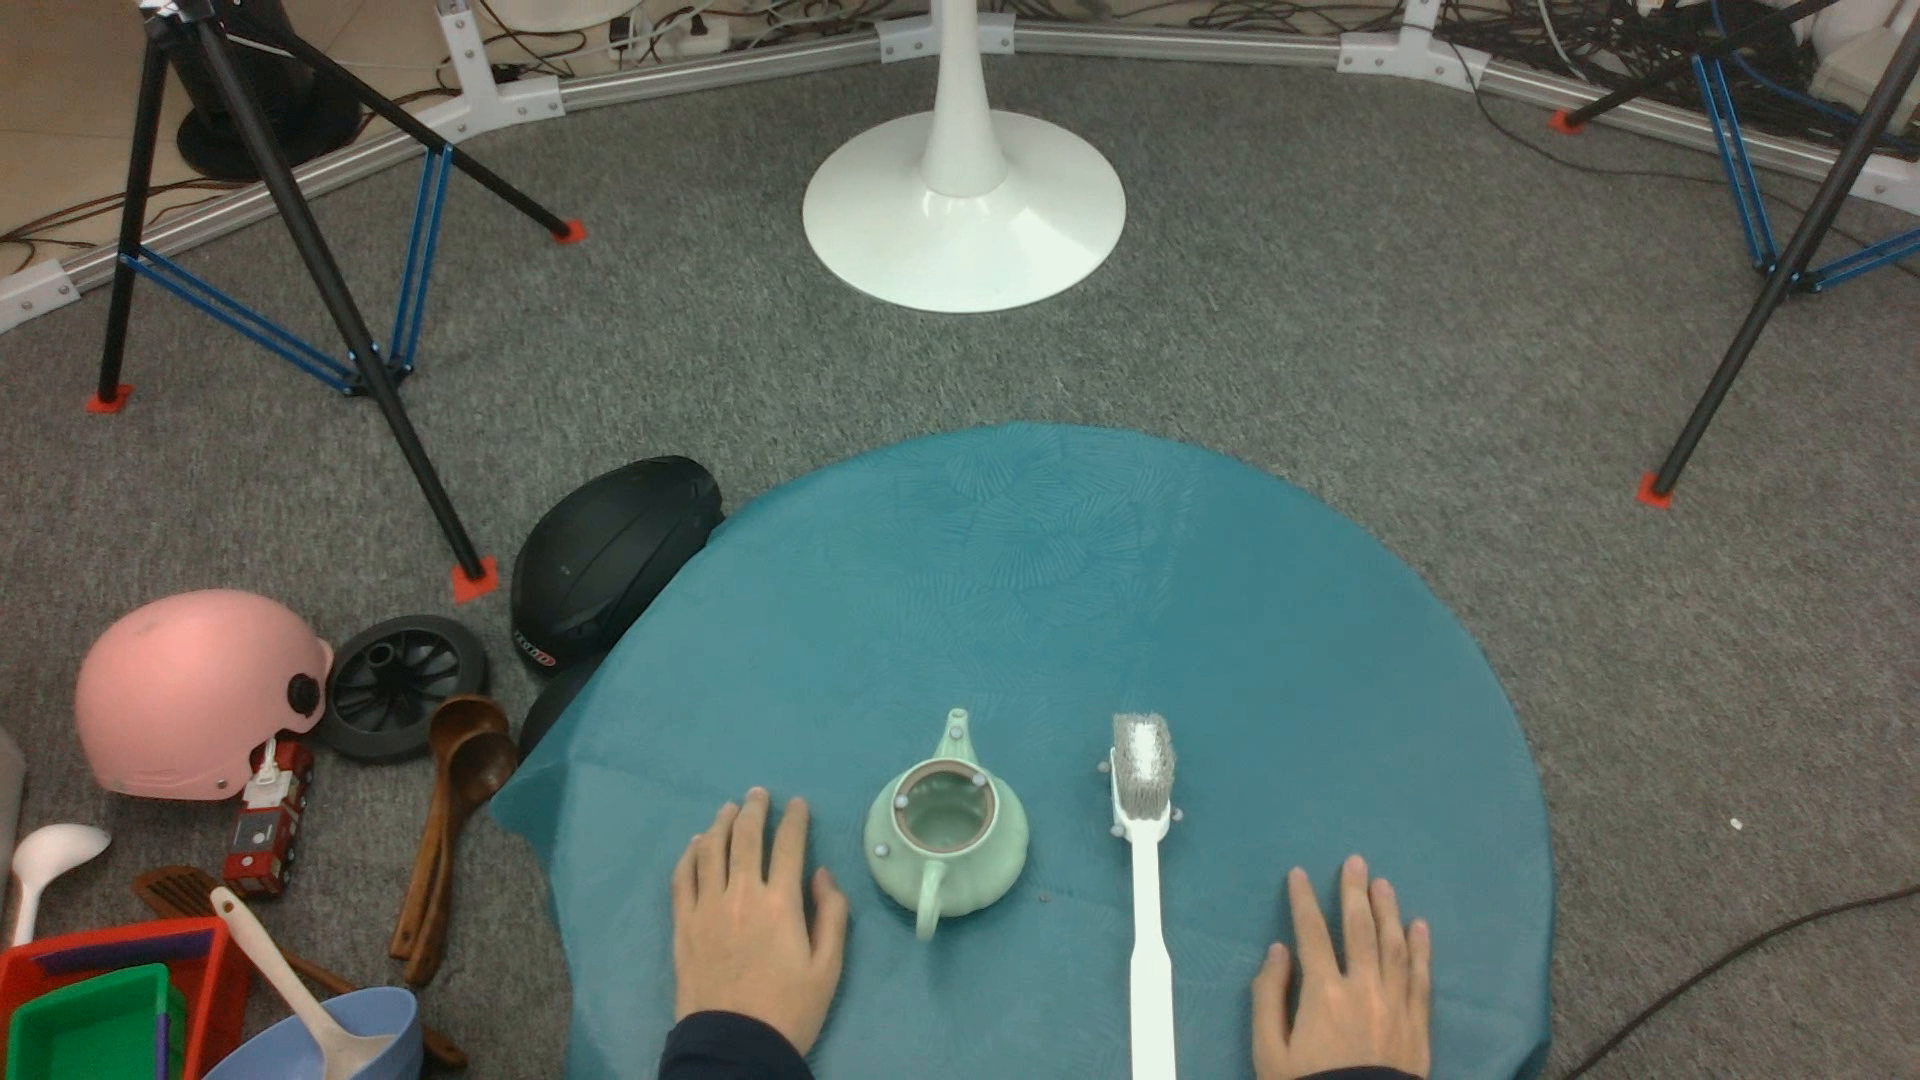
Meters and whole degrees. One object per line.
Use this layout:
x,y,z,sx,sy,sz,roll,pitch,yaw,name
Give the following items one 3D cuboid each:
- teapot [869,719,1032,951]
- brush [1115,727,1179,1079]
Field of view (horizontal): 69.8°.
-0.006,0.177,0.803,0.096,0.061,0.137,5,50,2,teapot
0.105,0.214,0.777,0.034,0.050,0.245,7,50,1,brush
